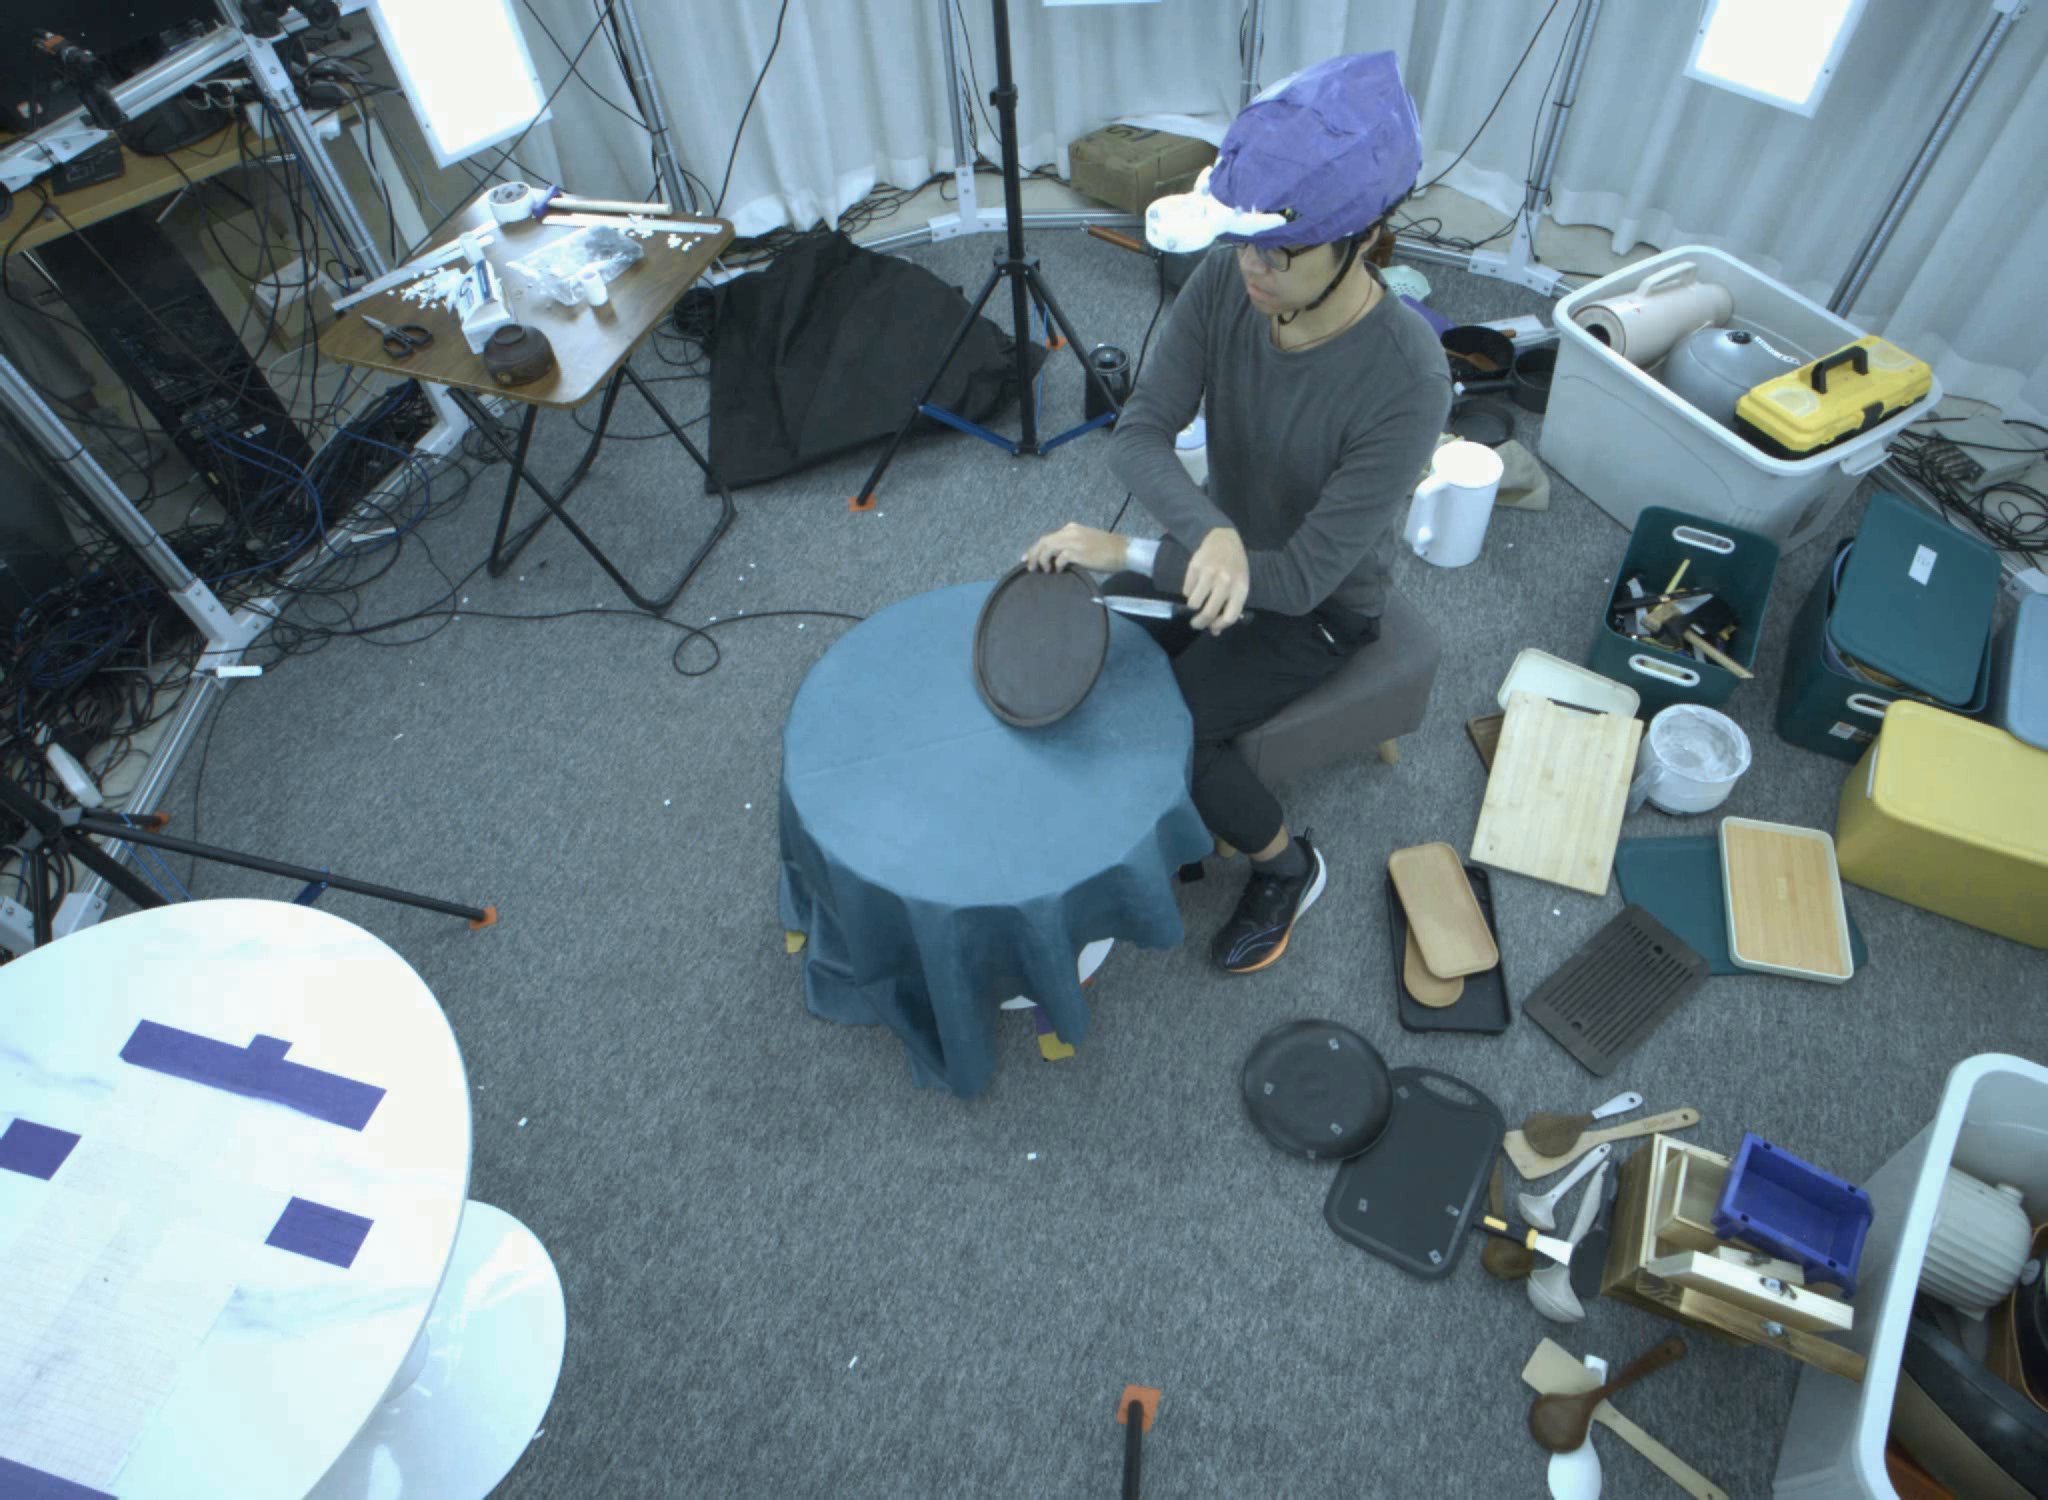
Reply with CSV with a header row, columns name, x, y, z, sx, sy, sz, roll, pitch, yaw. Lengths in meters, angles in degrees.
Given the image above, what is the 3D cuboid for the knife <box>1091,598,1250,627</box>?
name,x,y,z,sx,sy,sz,roll,pitch,yaw
knife,0.195,-0.191,1.671,0.233,0.016,0.024,11,98,28

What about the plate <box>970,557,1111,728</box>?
name,x,y,z,sx,sy,sz,roll,pitch,yaw
plate,0.024,-0.157,1.797,0.250,0.029,0.254,-5,82,37
